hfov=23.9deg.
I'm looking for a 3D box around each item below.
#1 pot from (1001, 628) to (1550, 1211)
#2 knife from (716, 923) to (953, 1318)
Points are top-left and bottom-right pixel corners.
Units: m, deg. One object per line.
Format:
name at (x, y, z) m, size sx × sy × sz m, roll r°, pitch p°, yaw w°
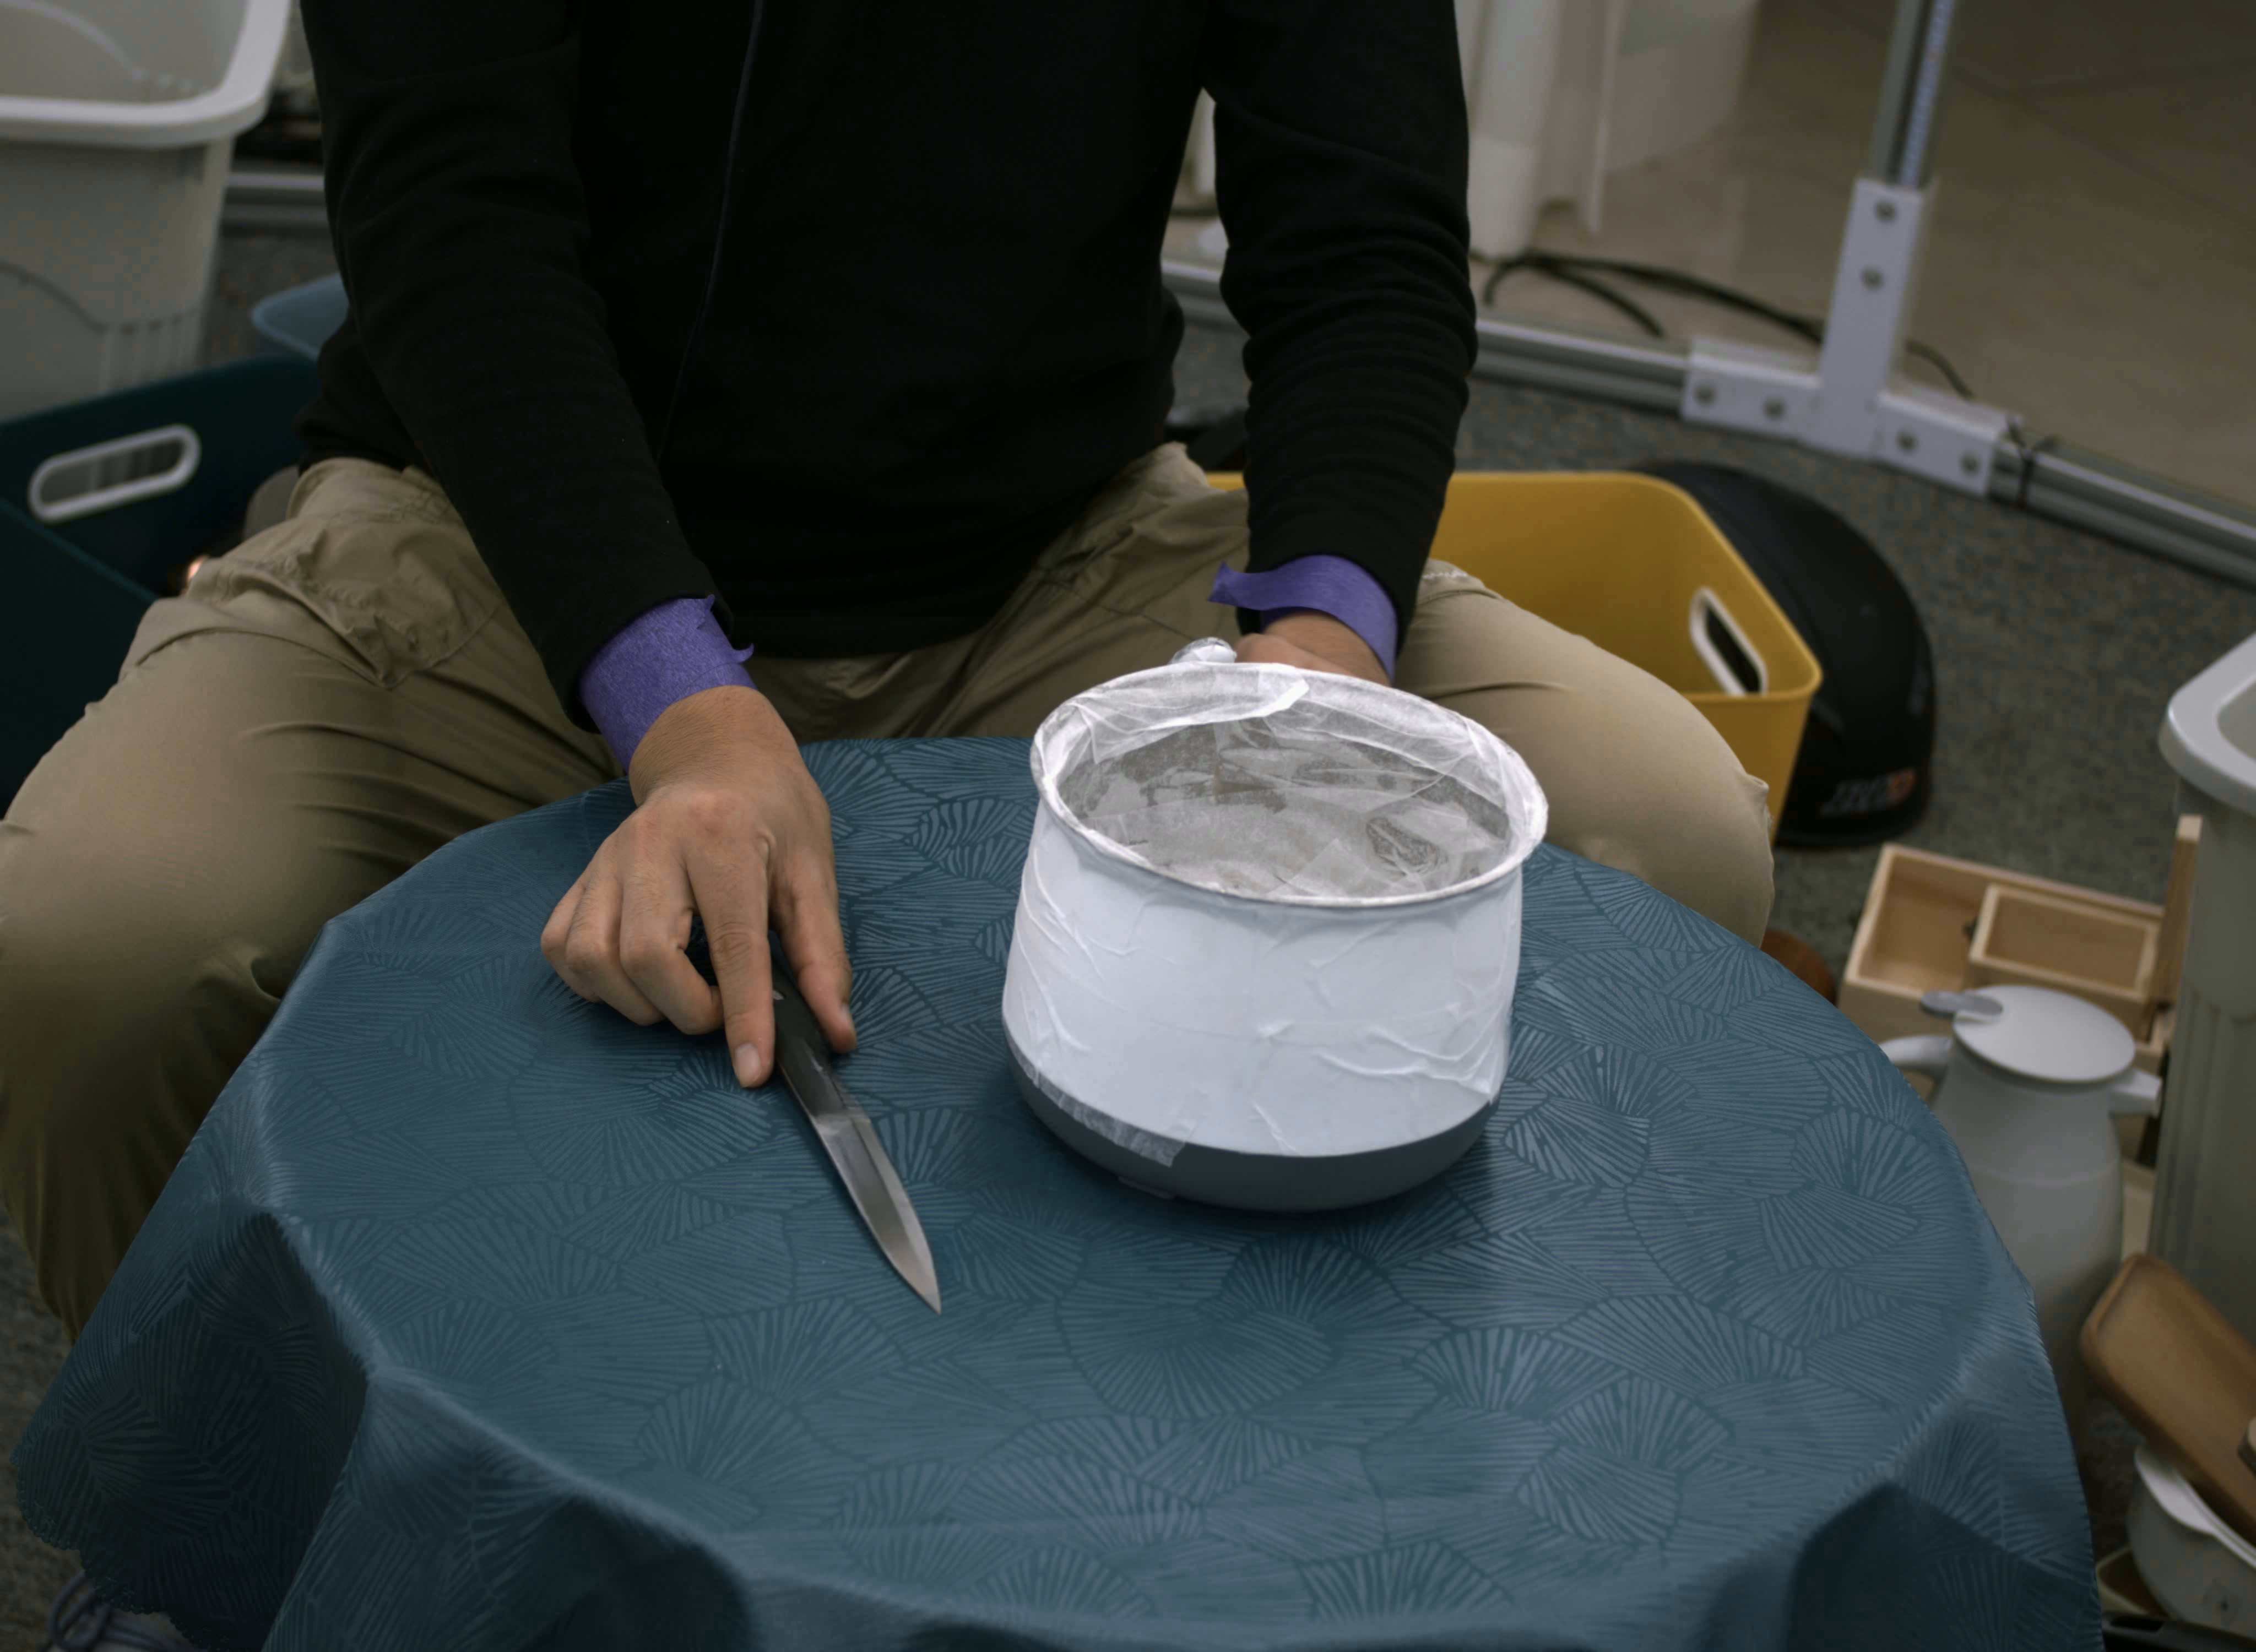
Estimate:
pot at (0.040, 0.025, 1.852) m, size 0.177 × 0.136 × 0.236 m, roll -1°, pitch 29°, yaw -17°
knife at (-0.101, 0.099, 1.819) m, size 0.024 × 0.016 × 0.240 m, roll 8°, pitch 27°, yaw -27°
